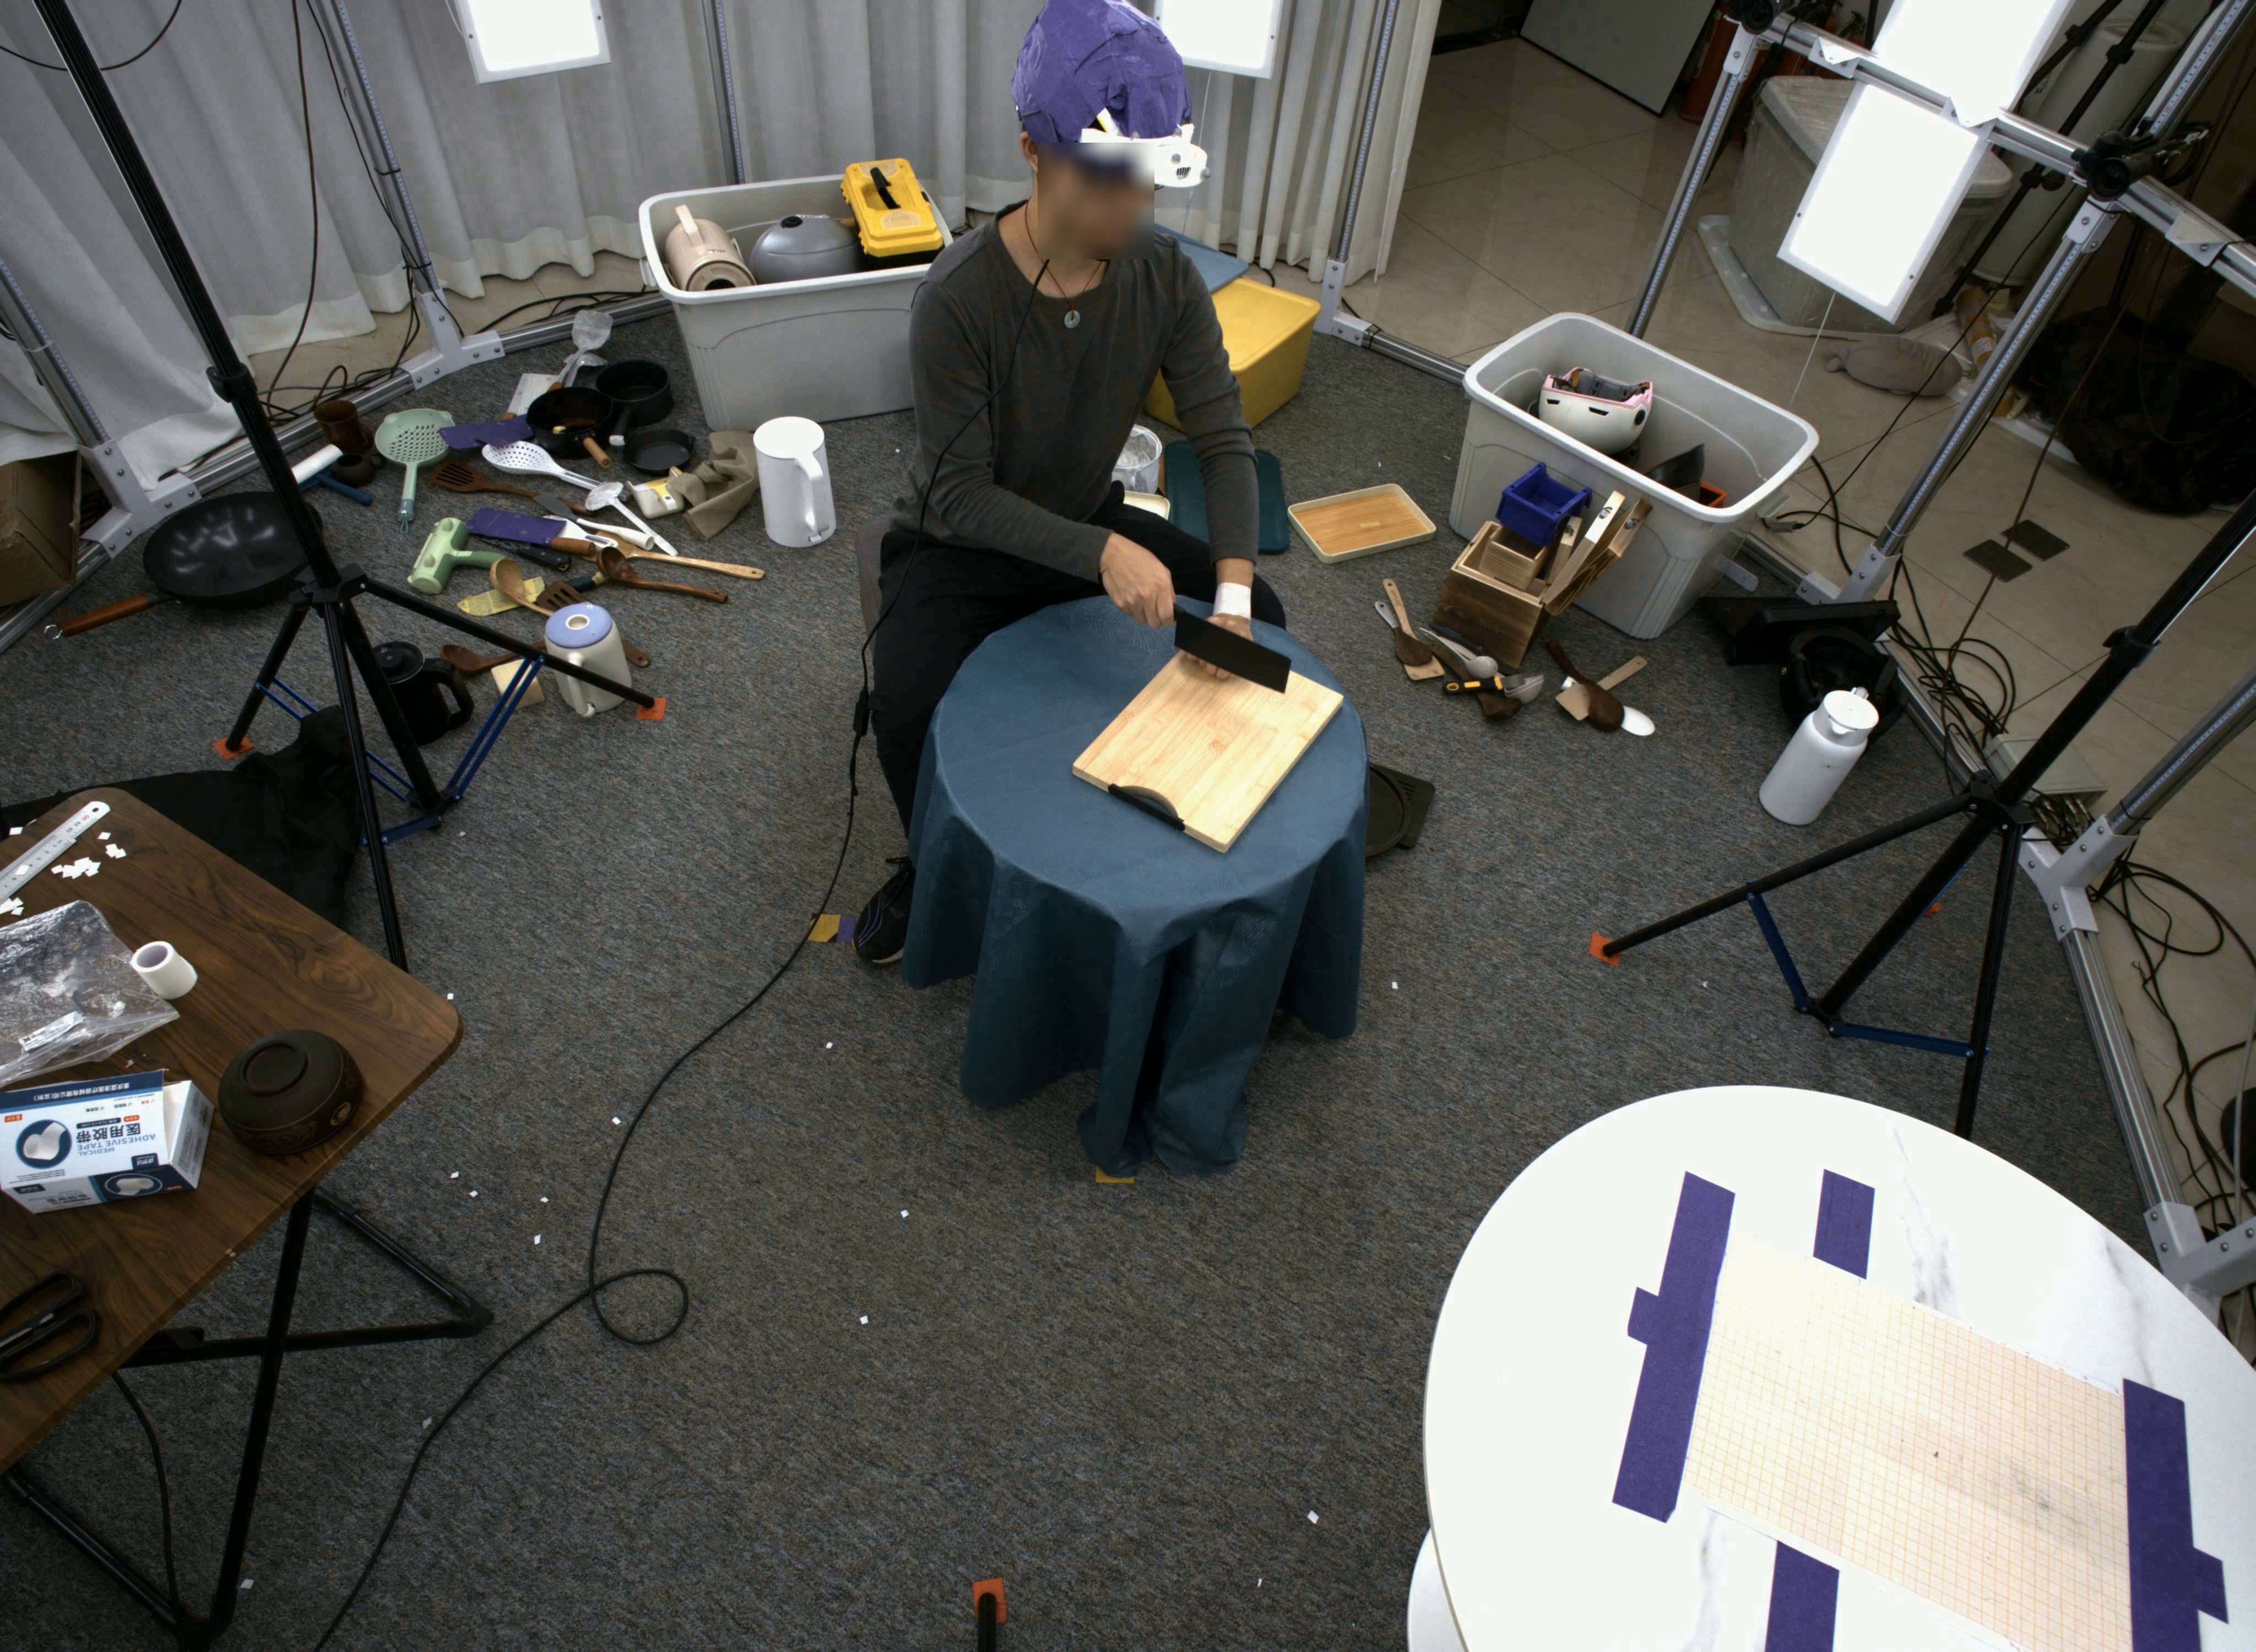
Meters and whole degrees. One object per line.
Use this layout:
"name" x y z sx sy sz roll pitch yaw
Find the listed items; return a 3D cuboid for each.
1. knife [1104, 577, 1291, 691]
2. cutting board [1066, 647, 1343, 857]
"knife" 0.093 -0.271 1.785 0.305 0.079 0.021 31 48 19
"cutting board" 0.113 -0.125 1.773 0.253 0.023 0.354 27 52 19
